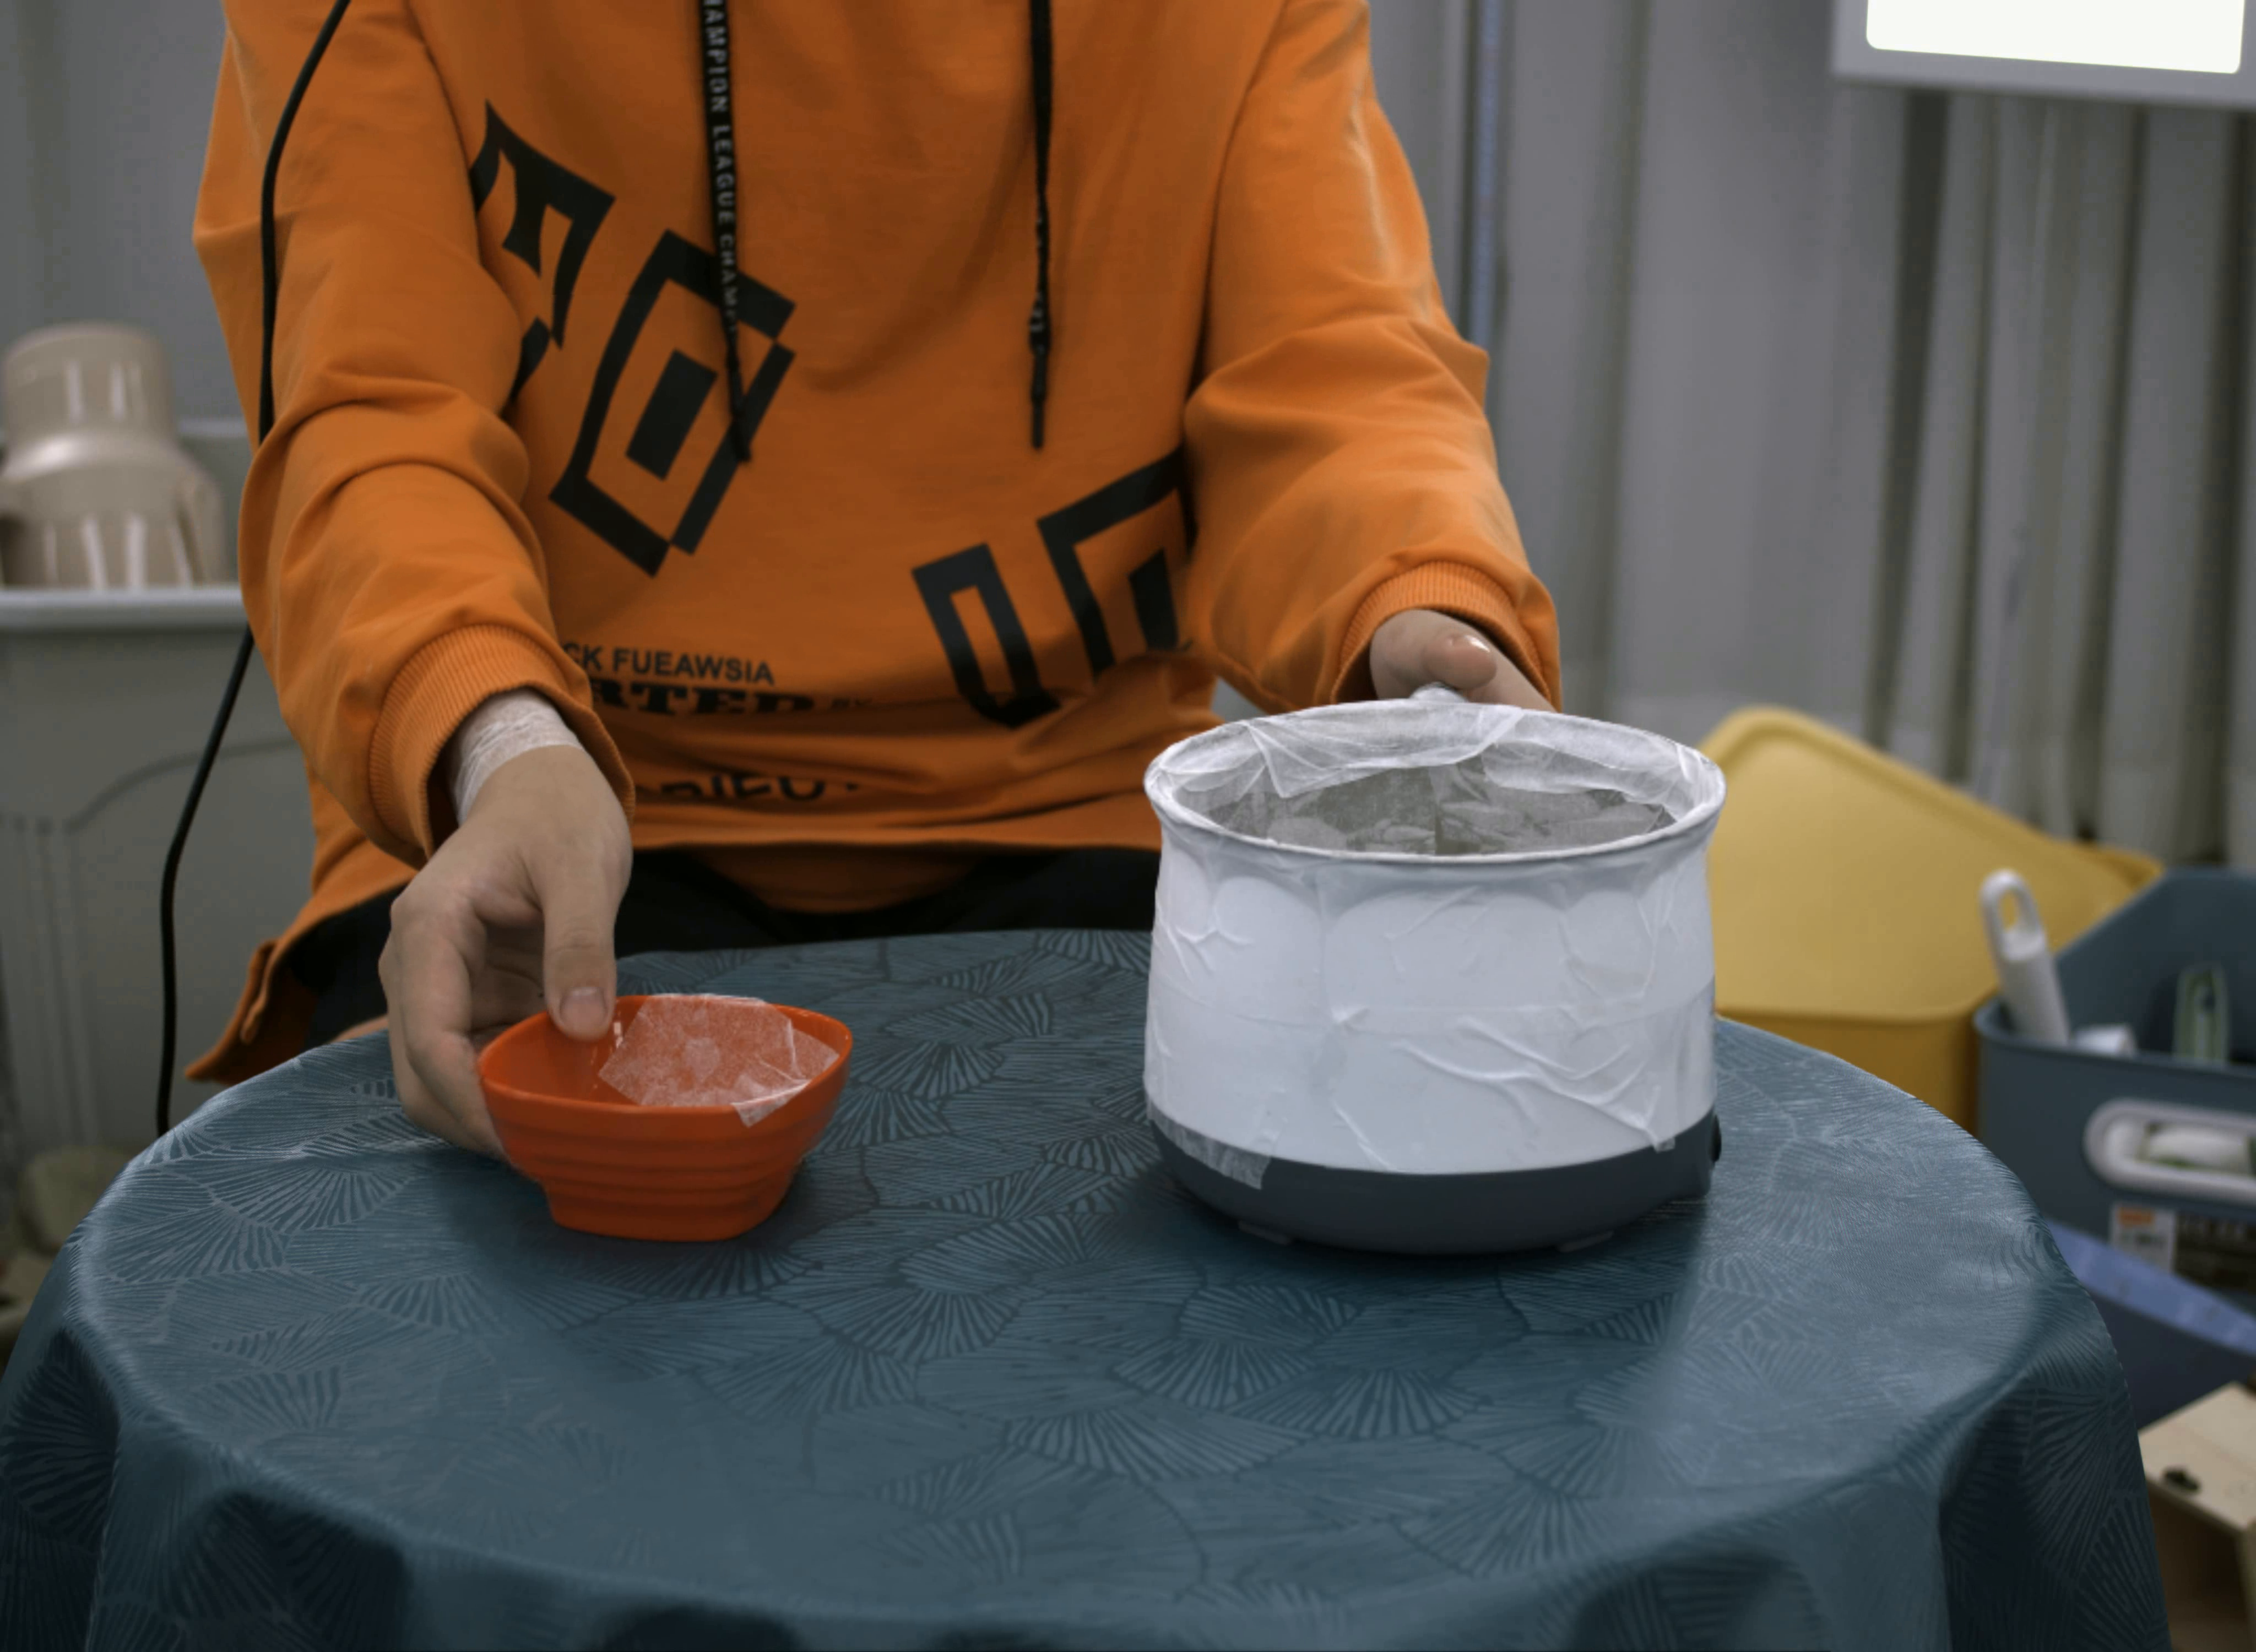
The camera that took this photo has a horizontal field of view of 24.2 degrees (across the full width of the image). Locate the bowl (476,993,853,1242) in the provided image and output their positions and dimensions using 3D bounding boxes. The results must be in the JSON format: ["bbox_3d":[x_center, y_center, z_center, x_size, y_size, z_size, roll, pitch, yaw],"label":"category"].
[{"bbox_3d":[-0.139,0.091,1.601,0.118,0.052,0.118,-1,16,1],"label":"bowl"}]

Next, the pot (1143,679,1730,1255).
[{"bbox_3d":[0.094,0.038,1.633,0.178,0.138,0.232,1,16,2],"label":"pot"}]
